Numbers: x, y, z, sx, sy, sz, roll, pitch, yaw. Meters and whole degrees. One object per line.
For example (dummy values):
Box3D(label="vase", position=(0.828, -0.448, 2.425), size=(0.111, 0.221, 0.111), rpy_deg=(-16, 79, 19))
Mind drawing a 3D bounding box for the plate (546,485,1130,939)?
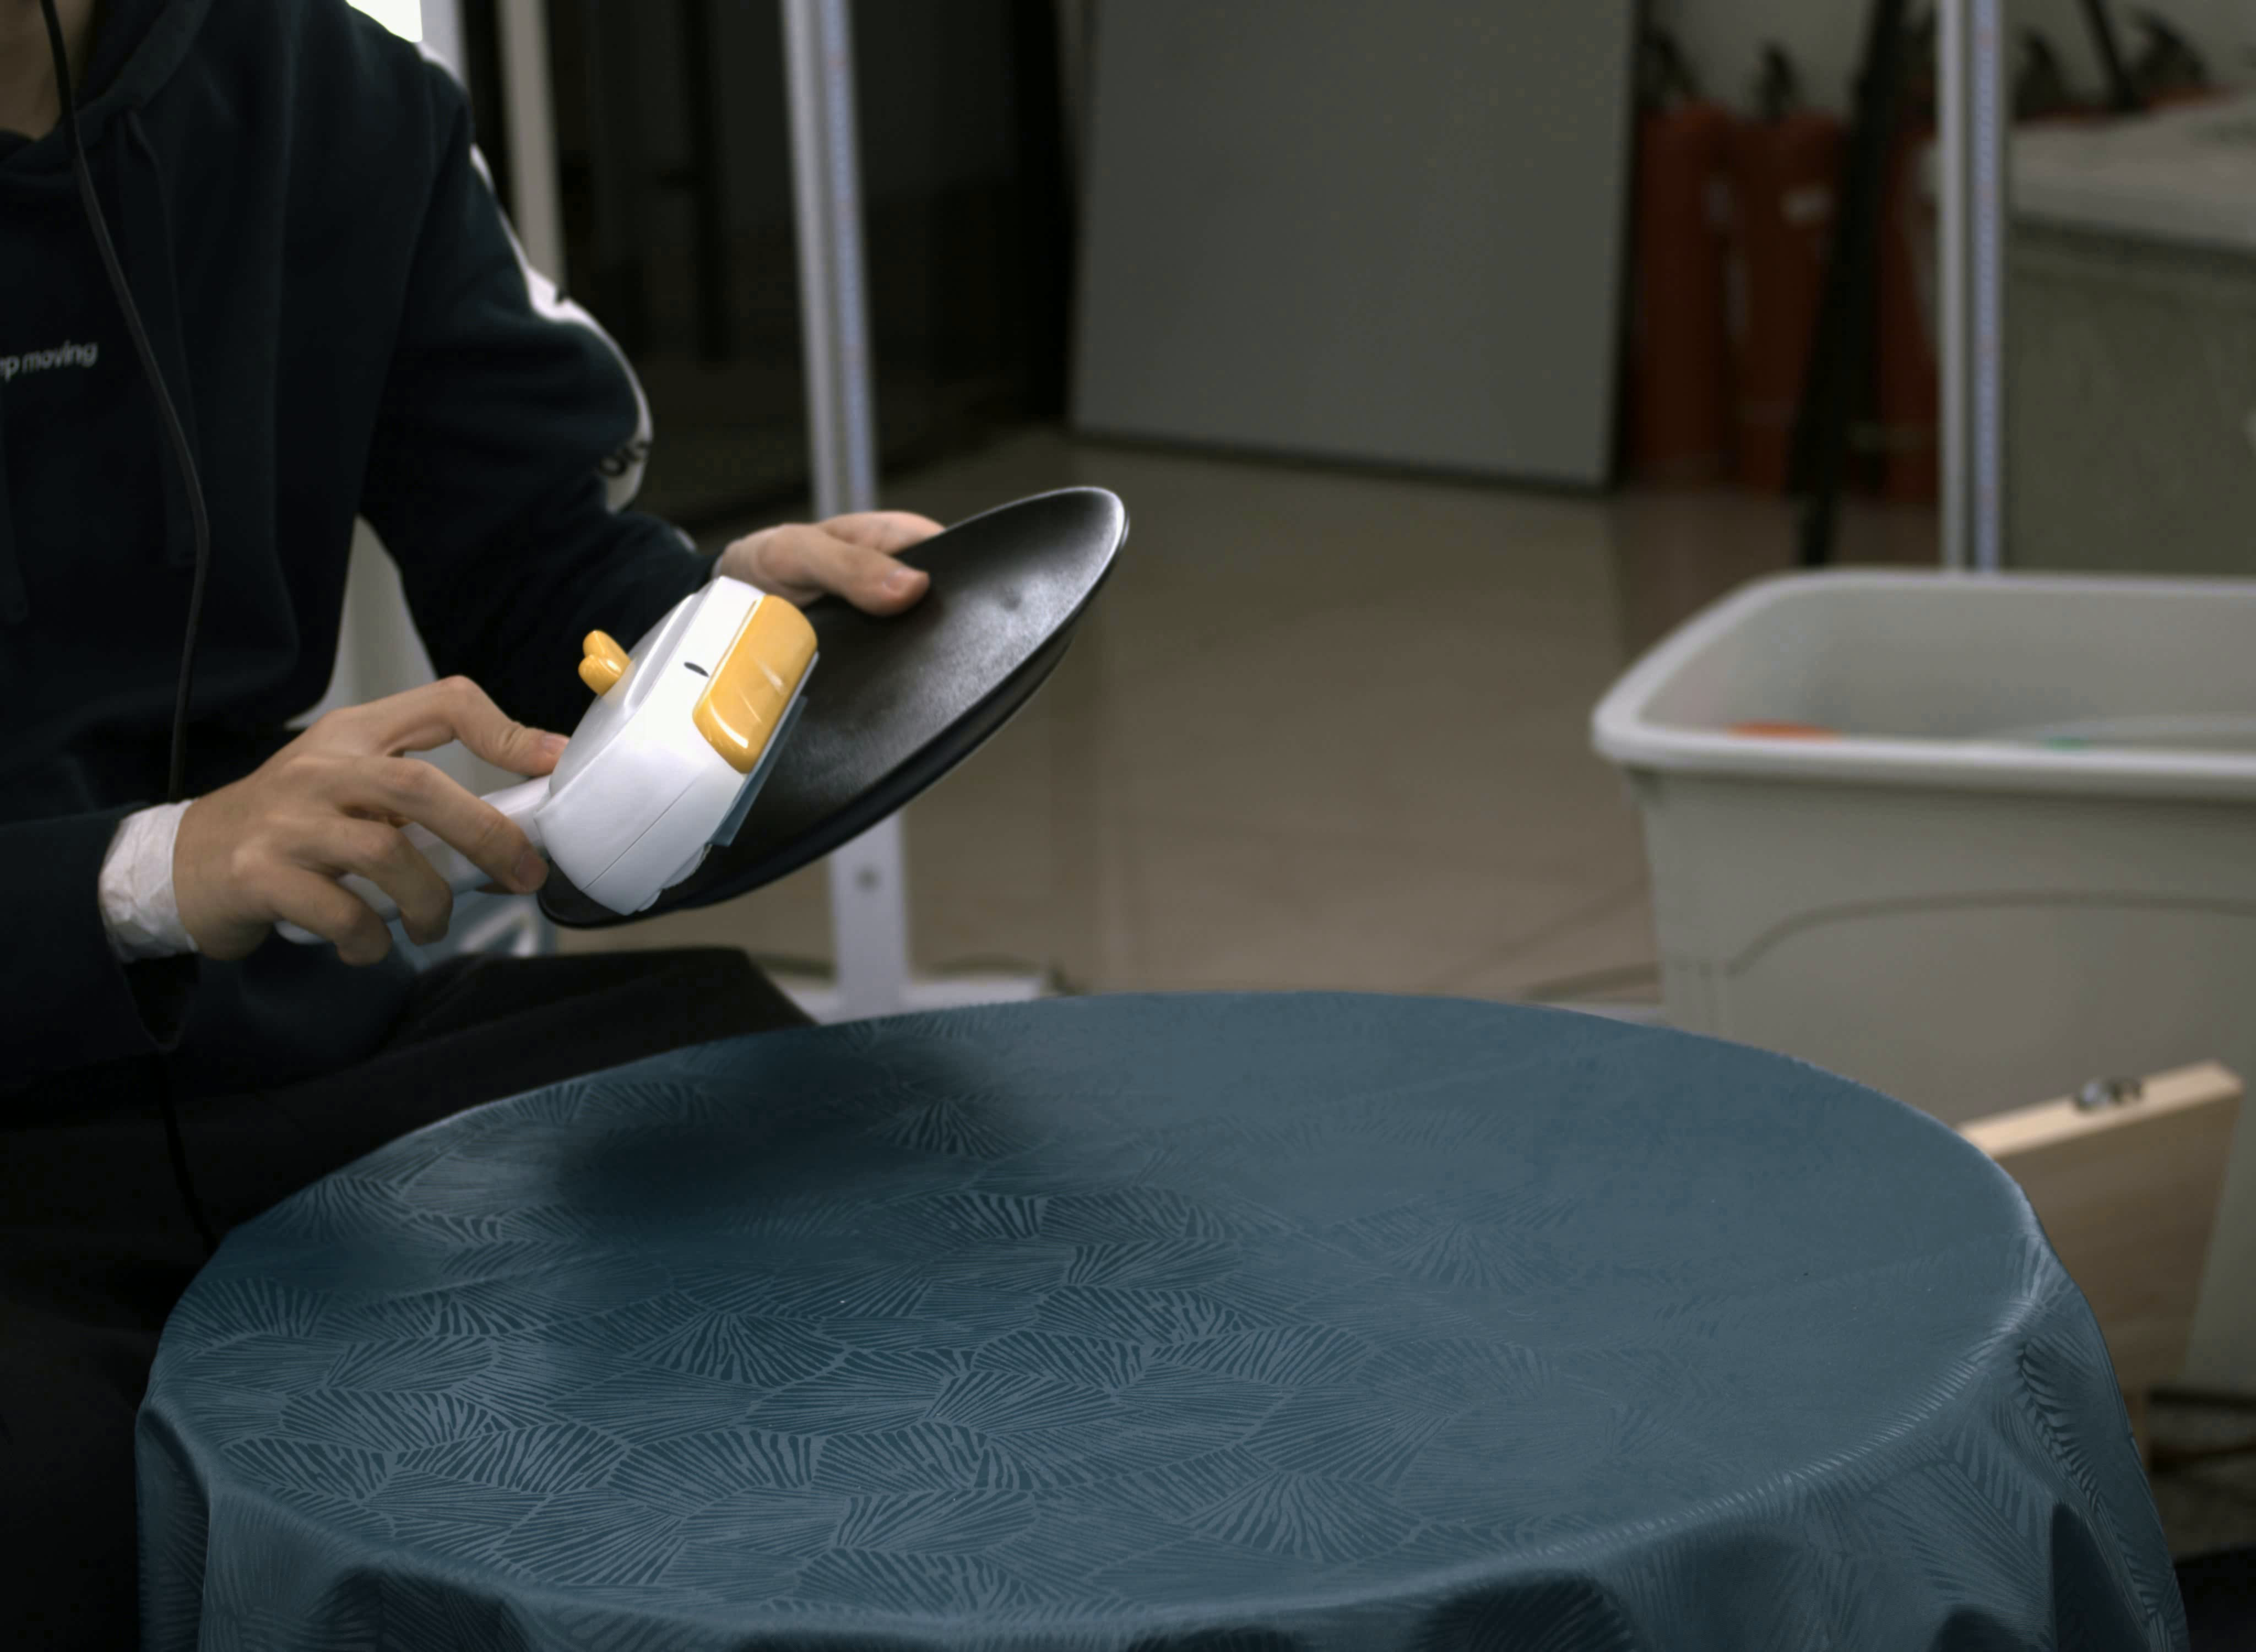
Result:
Box3D(label="plate", position=(-0.094, -0.033, 1.840), size=(0.244, 0.023, 0.245), rpy_deg=(-33, 17, 10))

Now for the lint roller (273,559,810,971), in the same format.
Box3D(label="lint roller", position=(-0.193, -0.003, 1.780), size=(0.193, 0.074, 0.193), rpy_deg=(-38, 15, 13))
